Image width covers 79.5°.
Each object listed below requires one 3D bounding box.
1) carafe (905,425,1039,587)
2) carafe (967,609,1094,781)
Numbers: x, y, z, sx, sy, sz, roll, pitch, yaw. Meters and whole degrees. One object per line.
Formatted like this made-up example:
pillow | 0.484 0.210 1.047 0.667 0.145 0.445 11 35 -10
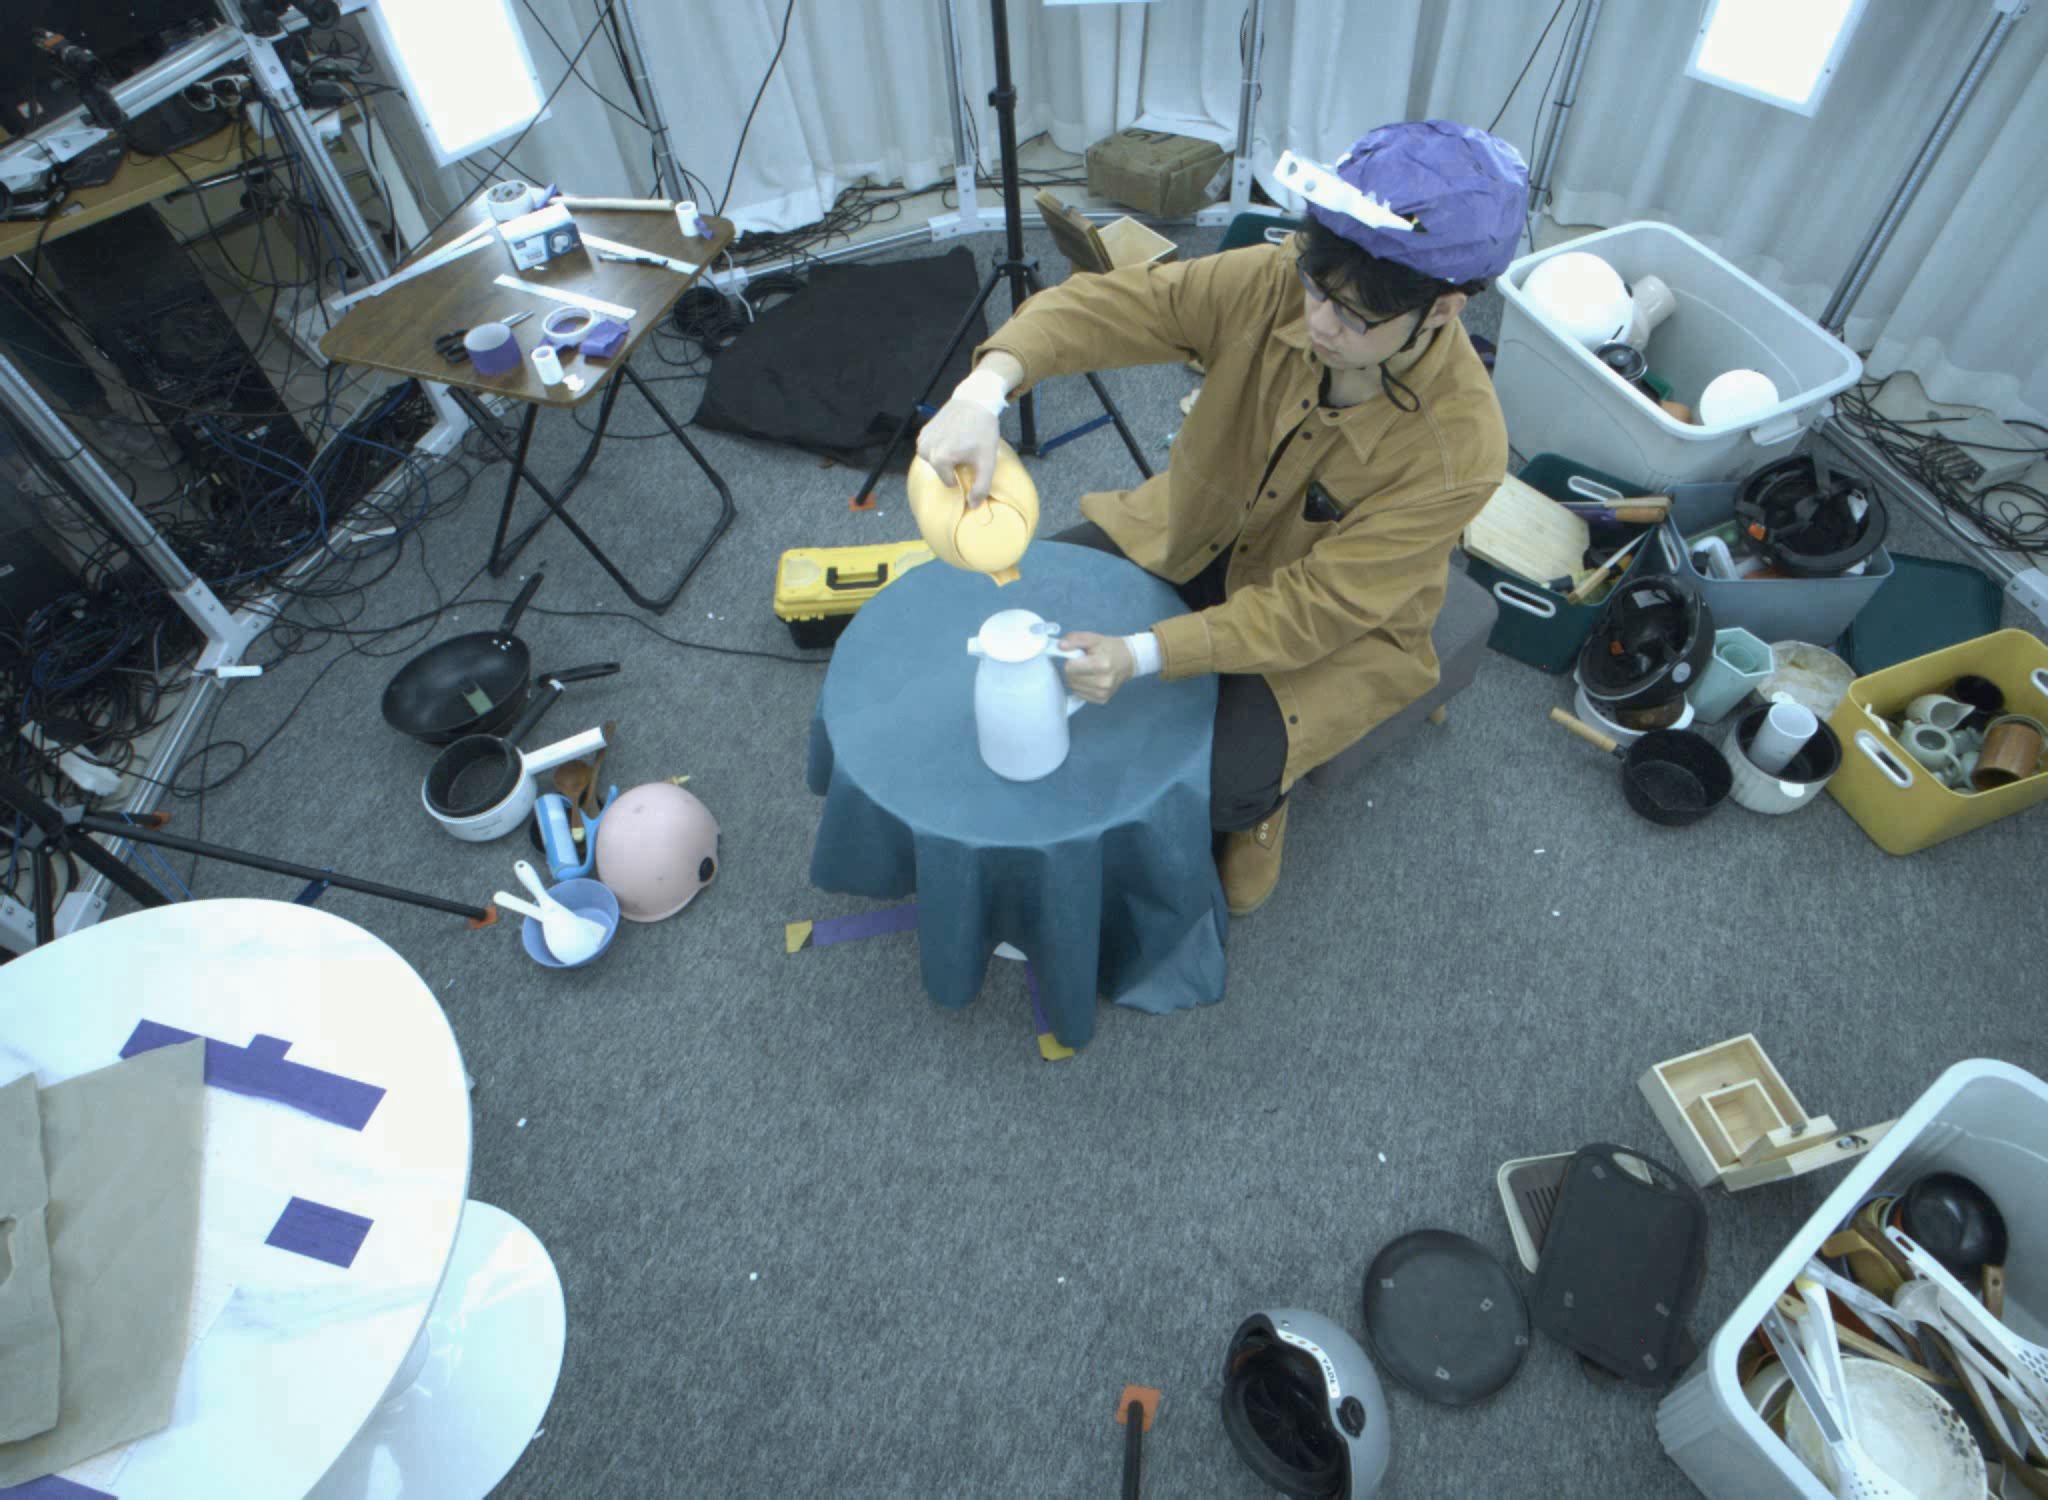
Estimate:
carafe | -0.068 -0.332 1.582 0.164 0.205 0.256 -22 32 -3
carafe | 0.012 -0.083 1.688 0.168 0.251 0.131 -3 54 0
